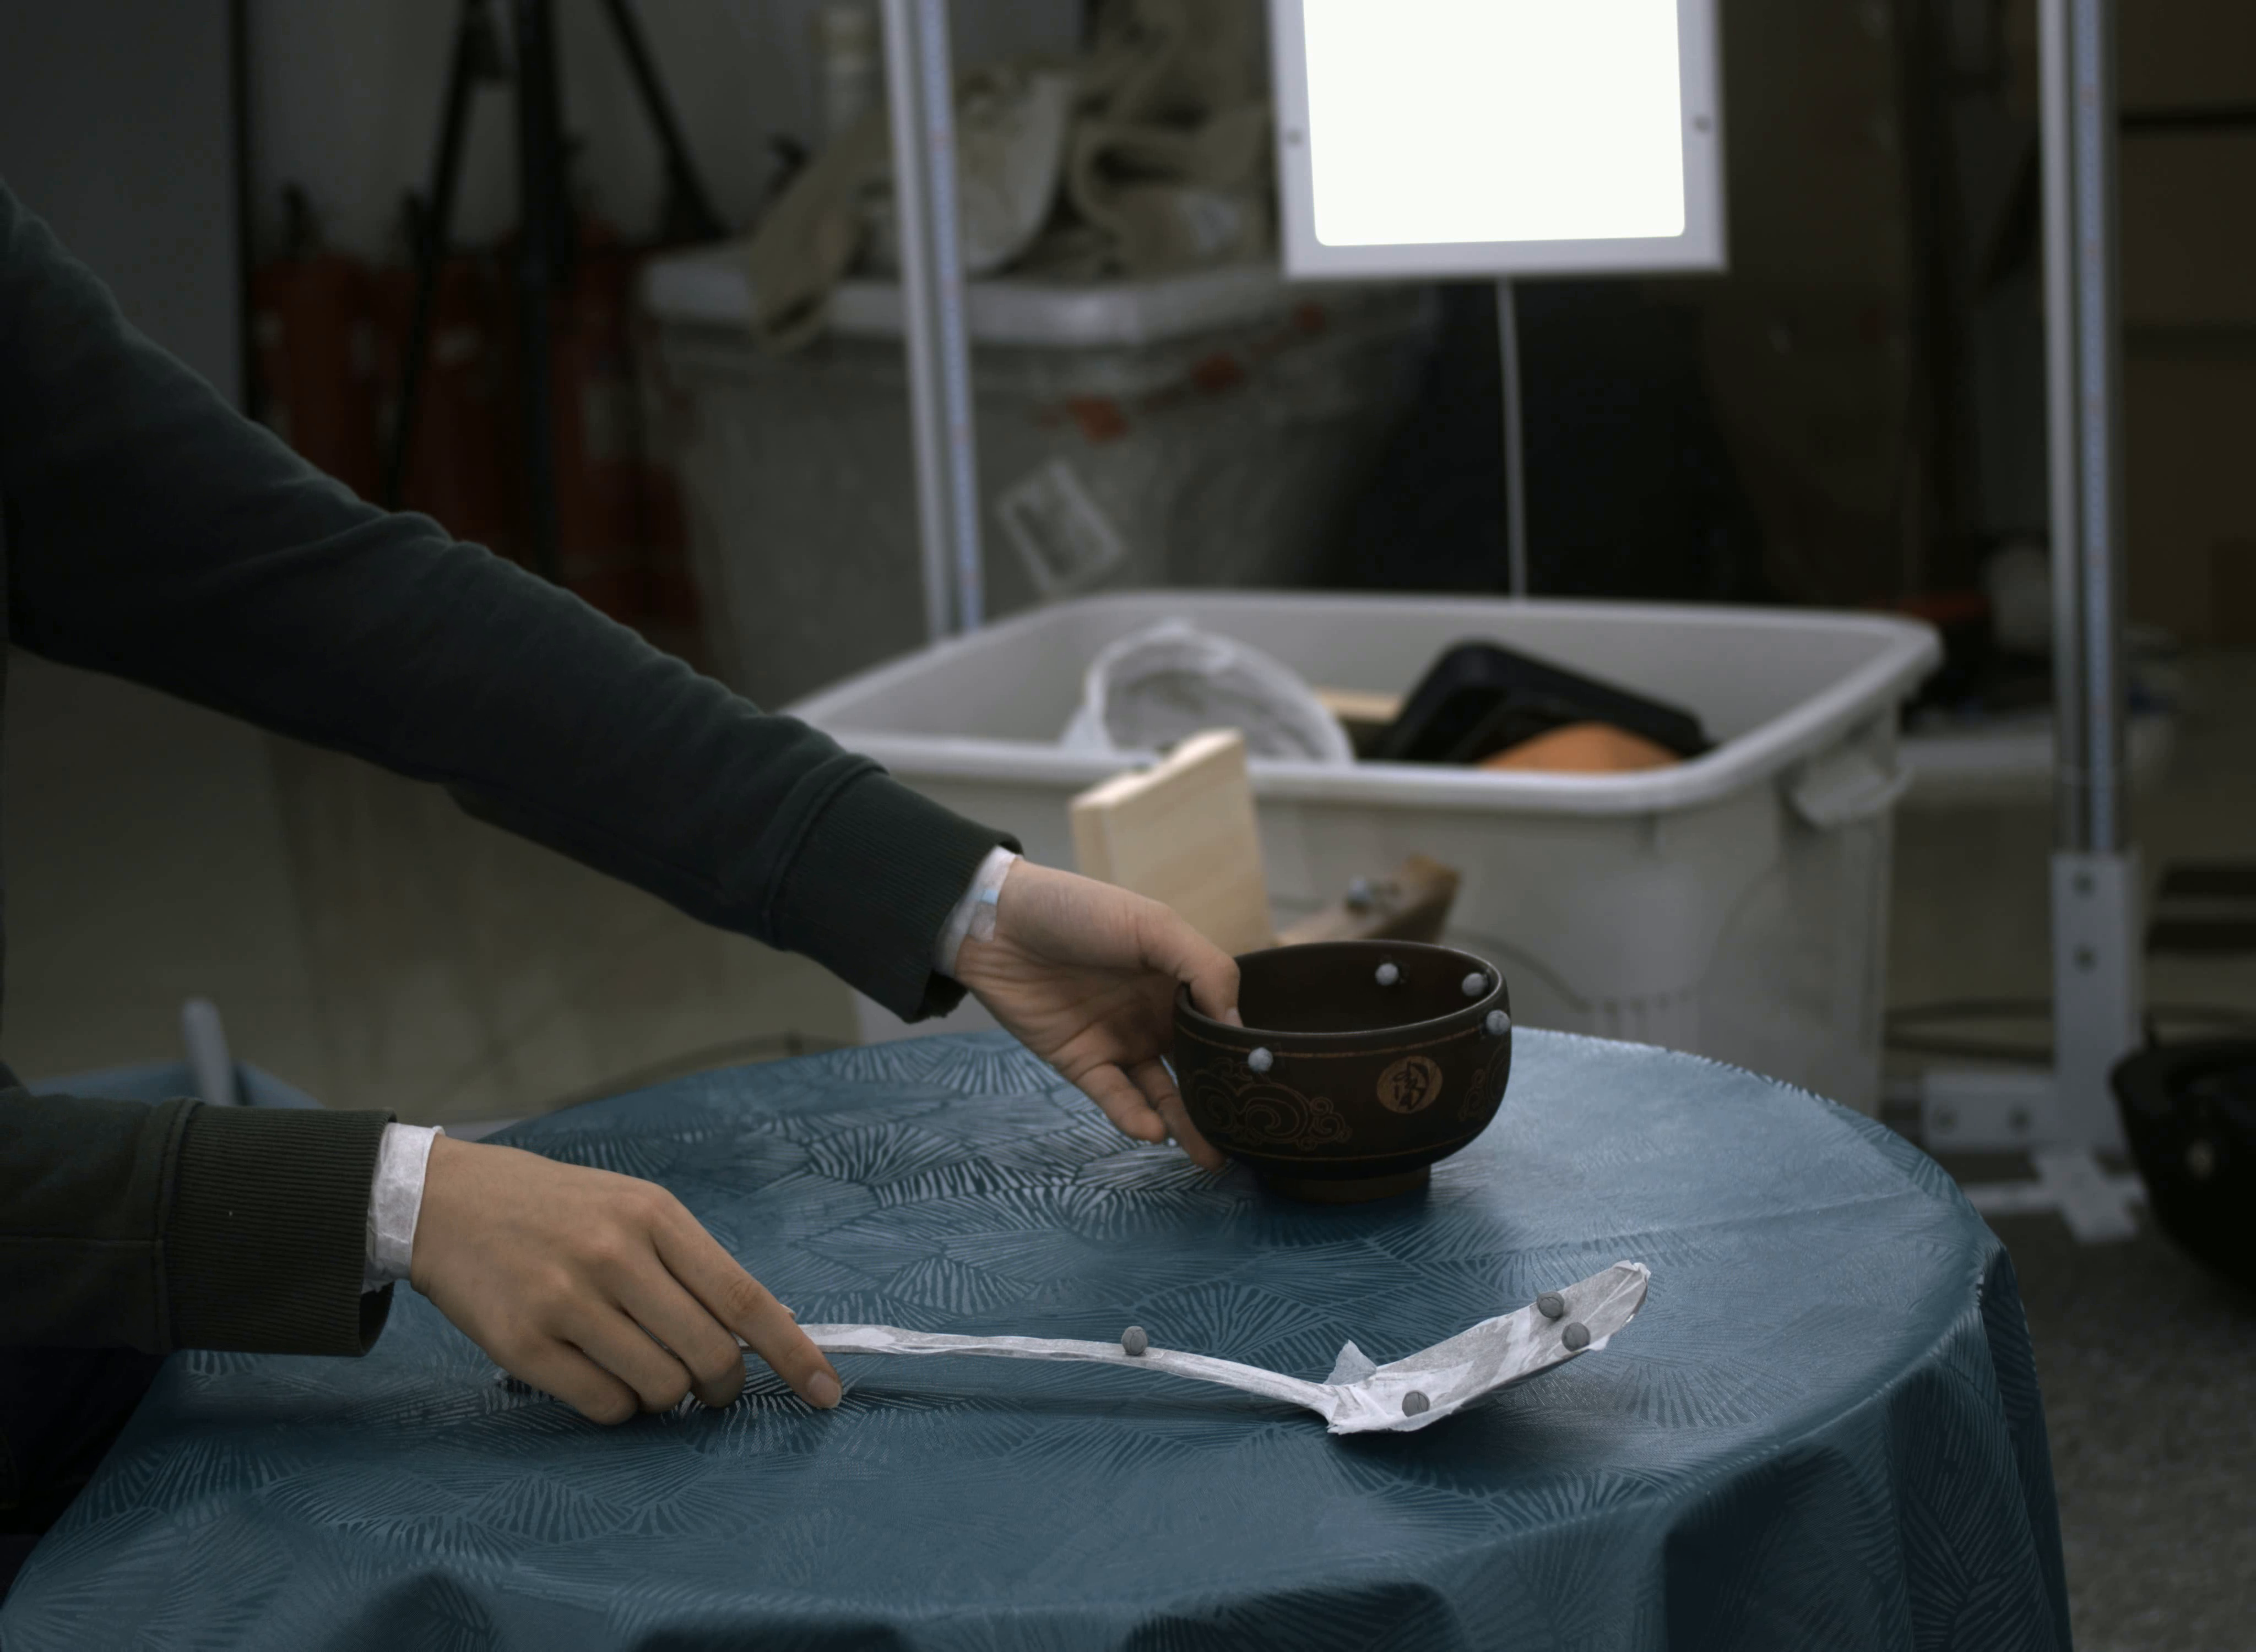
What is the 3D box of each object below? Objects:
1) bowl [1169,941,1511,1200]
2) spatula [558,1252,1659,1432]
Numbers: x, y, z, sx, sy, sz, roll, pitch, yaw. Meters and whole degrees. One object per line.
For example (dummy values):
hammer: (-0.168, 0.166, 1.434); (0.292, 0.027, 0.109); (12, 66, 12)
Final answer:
bowl: (0.074, 0.087, 1.882); (0.118, 0.070, 0.118); (-5, 13, 0)
spatula: (-0.016, 0.157, 1.695); (0.370, 0.045, 0.097); (1, 16, 21)
